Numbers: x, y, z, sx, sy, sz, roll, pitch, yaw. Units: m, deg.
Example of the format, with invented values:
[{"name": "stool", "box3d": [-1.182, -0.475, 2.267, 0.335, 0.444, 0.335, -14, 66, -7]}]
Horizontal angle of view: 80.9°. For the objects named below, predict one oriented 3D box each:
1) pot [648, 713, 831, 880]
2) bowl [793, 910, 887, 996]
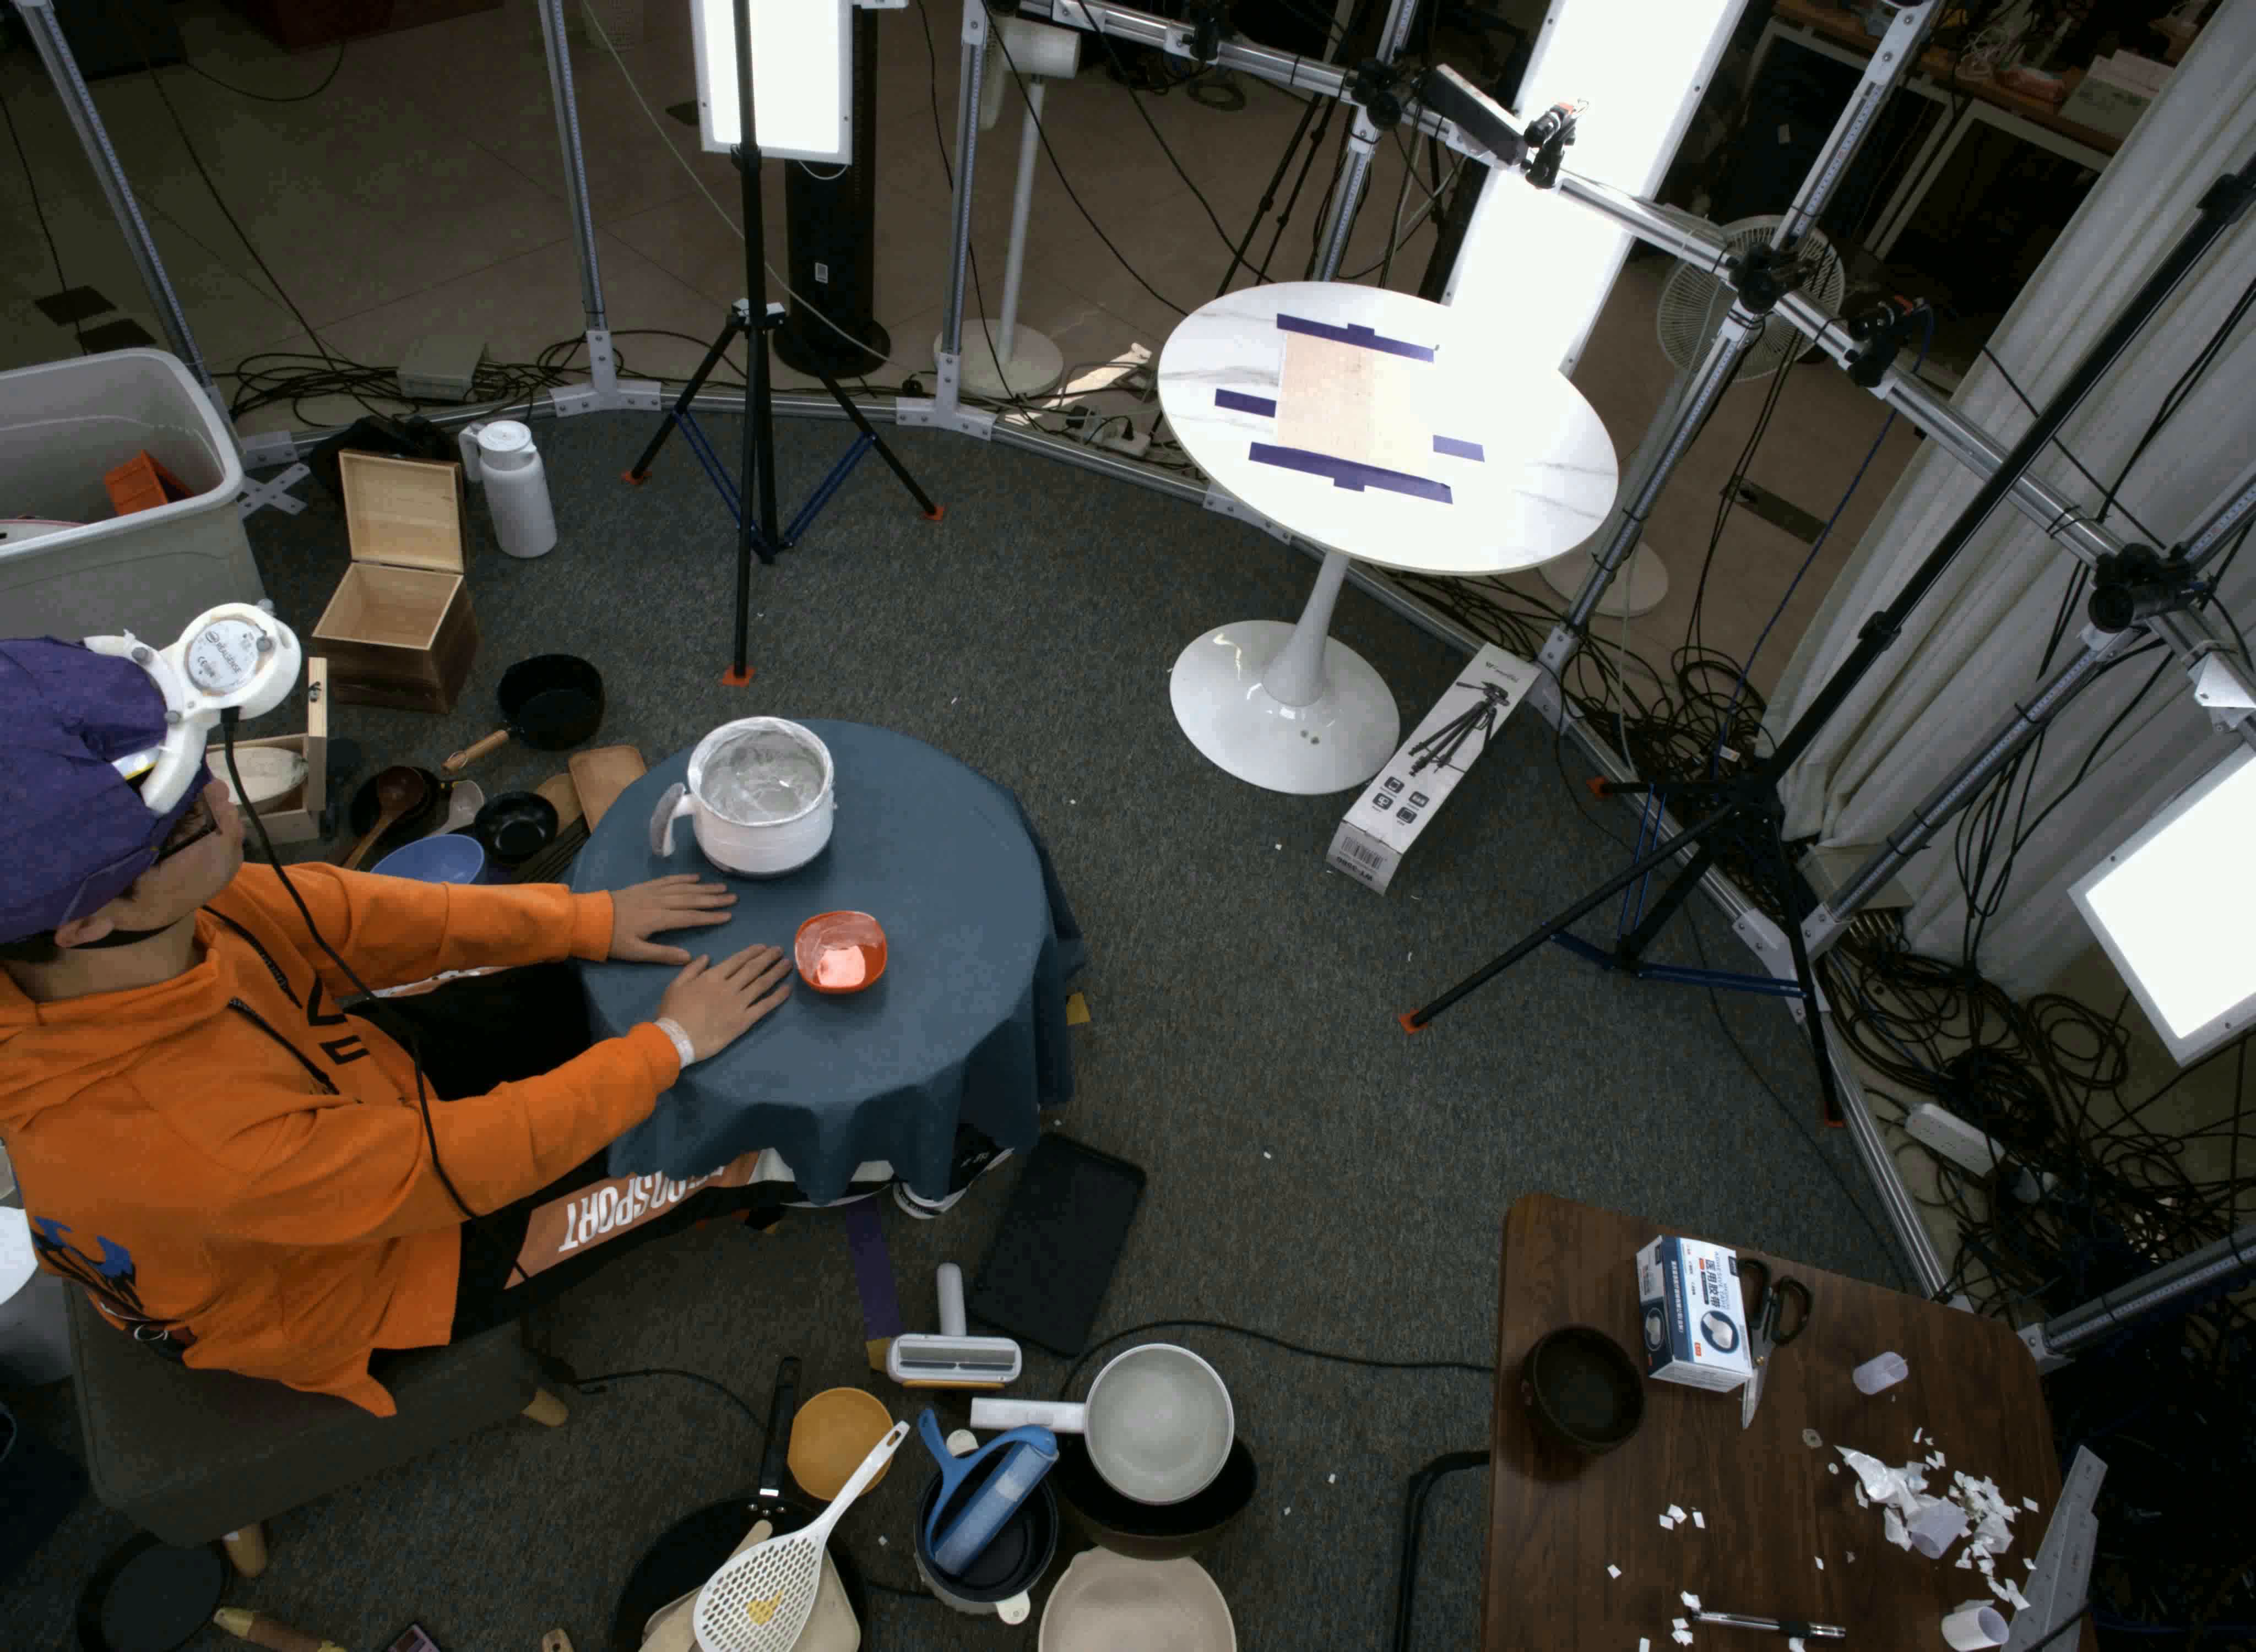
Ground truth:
[{"name": "pot", "box3d": [-0.490, -0.026, 1.627, 0.235, 0.139, 0.174, -17, 58, -25]}, {"name": "bowl", "box3d": [-0.350, 0.161, 1.579, 0.119, 0.052, 0.117, 9, 53, -10]}]
